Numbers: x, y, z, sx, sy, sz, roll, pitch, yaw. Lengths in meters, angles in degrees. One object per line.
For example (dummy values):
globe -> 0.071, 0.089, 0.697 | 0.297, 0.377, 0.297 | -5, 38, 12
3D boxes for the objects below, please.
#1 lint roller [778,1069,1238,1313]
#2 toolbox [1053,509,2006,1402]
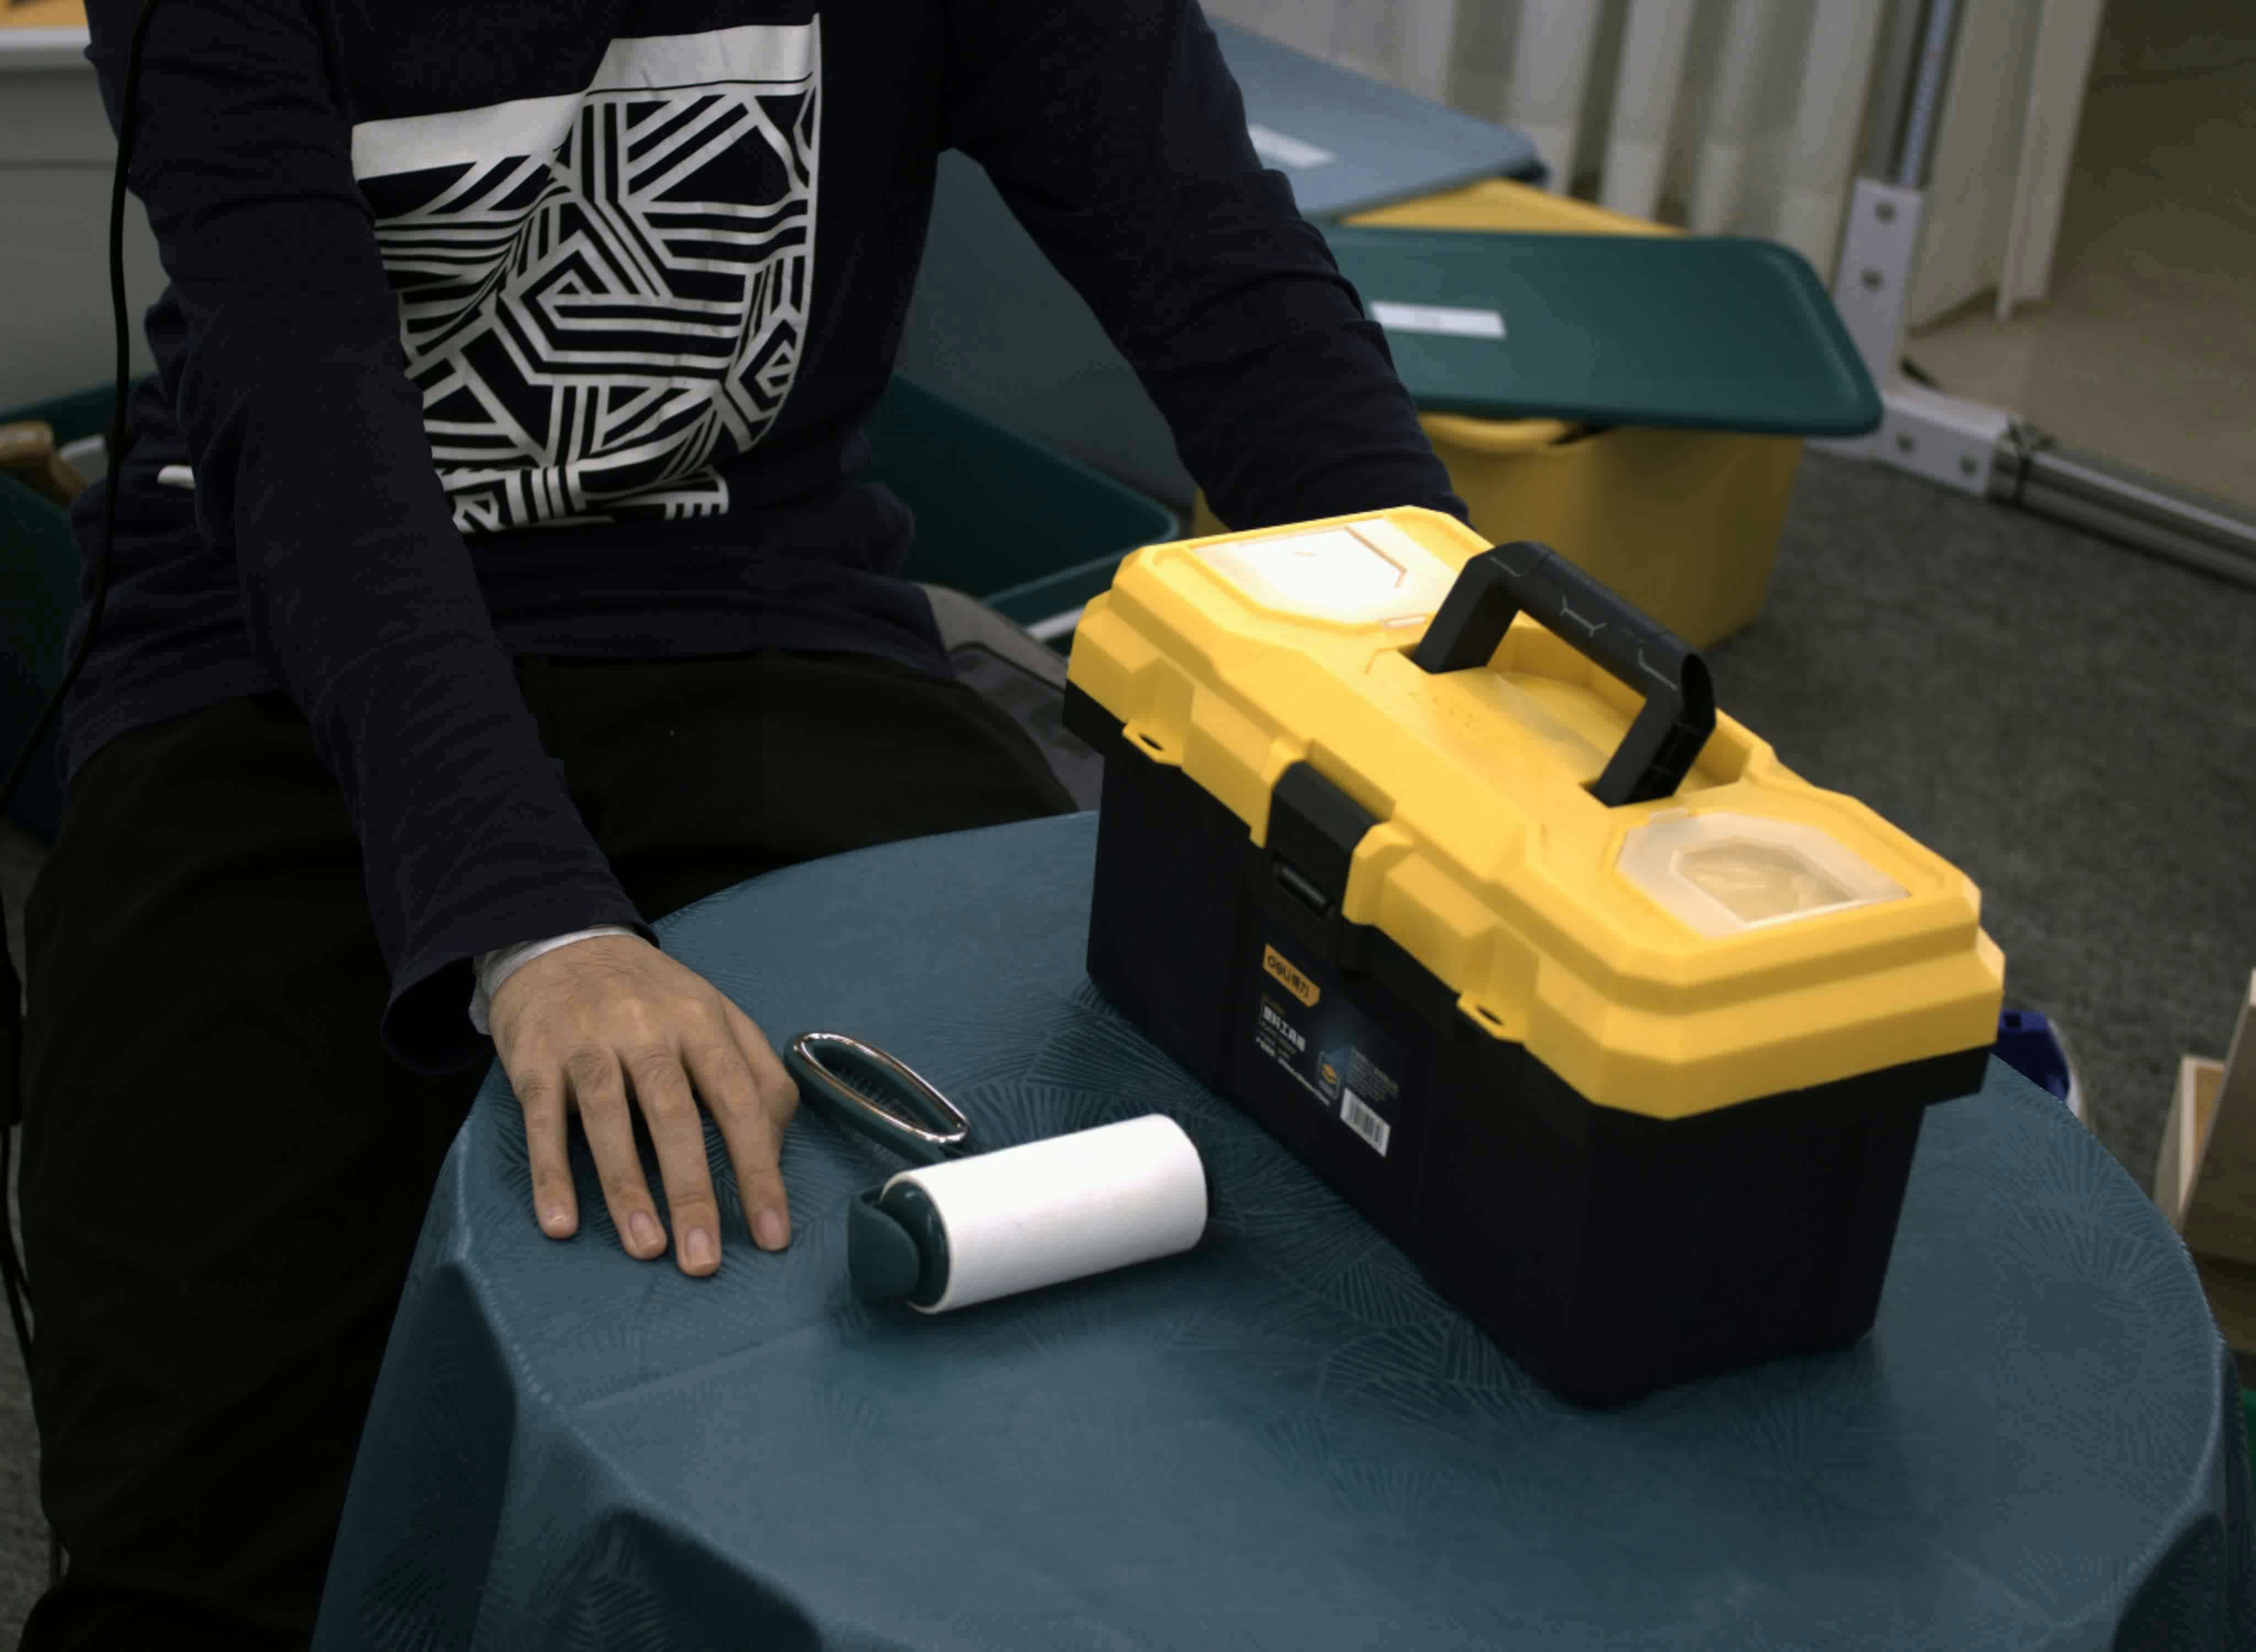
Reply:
lint roller -> -0.065, 0.101, 1.792 | 0.133, 0.048, 0.181 | -12, 28, -31
toolbox -> 0.123, 0.037, 1.813 | 0.180, 0.172, 0.354 | -10, 30, -31
